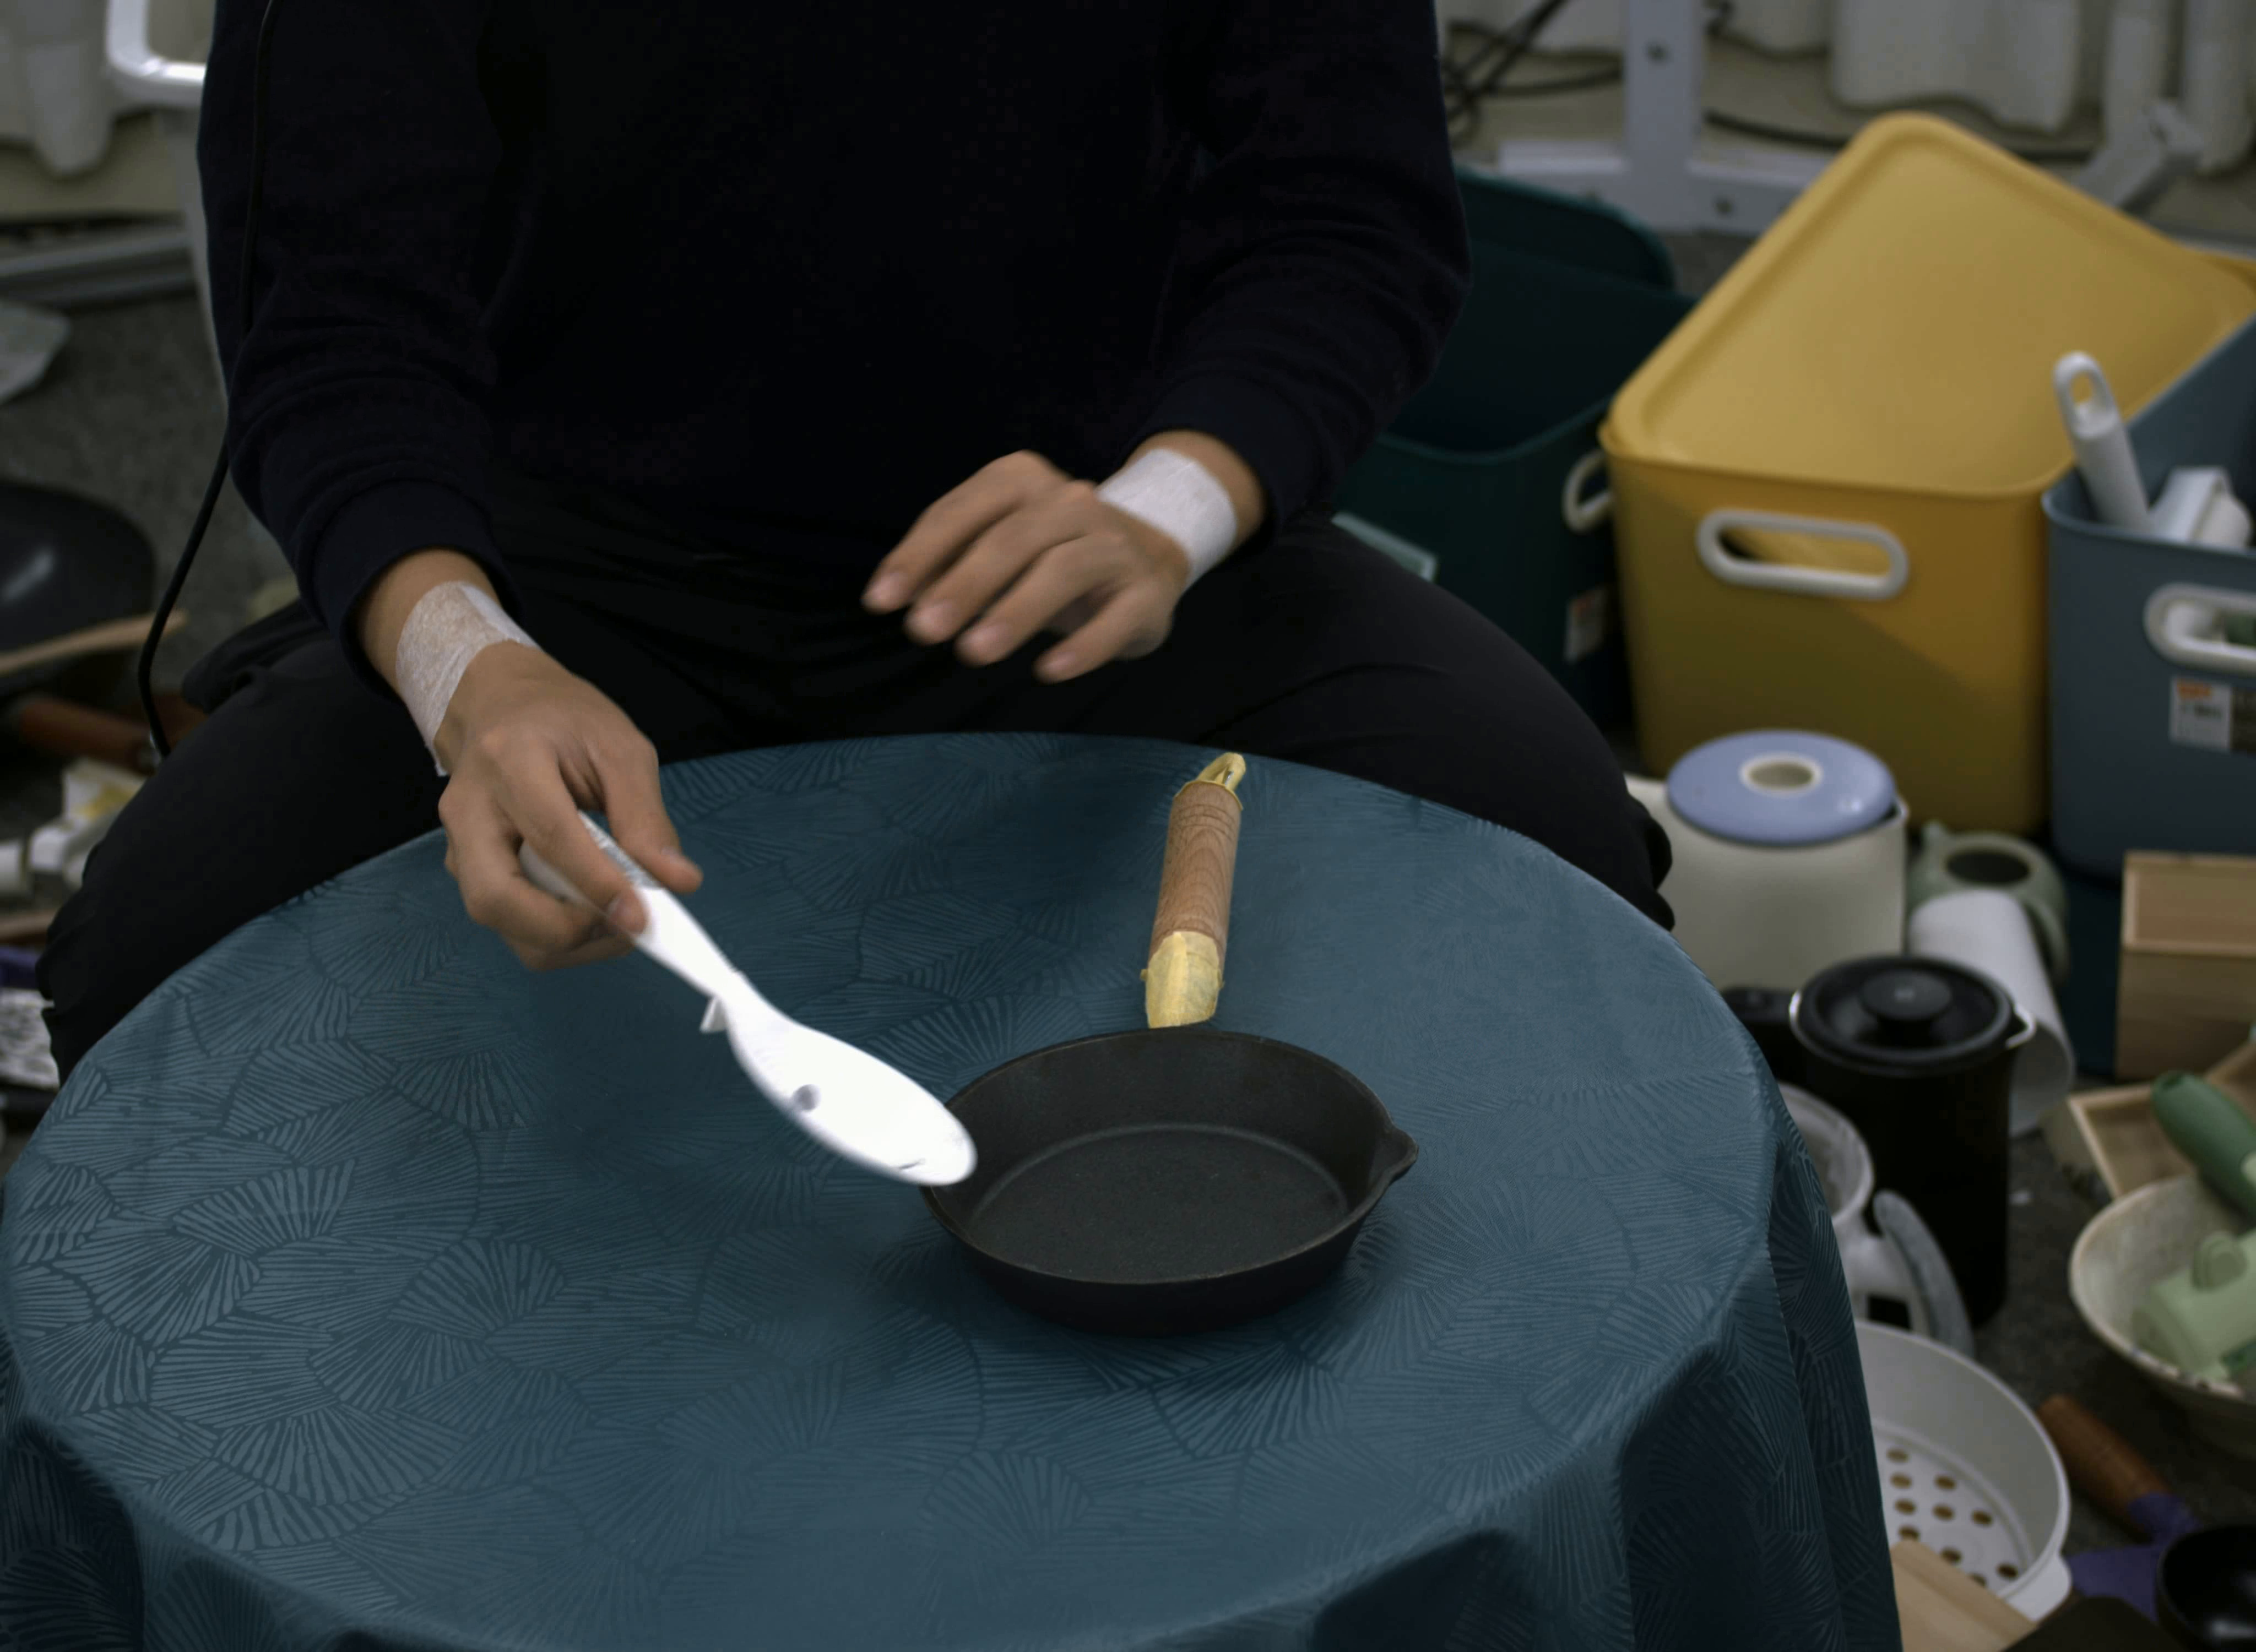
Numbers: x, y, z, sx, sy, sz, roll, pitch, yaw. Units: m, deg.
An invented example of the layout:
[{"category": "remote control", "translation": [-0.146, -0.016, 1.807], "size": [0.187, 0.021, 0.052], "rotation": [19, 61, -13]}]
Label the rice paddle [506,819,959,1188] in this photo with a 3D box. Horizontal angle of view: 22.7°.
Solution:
[{"category": "rice paddle", "translation": [-0.130, 0.061, 1.832], "size": [0.069, 0.029, 0.206], "rotation": [-8, 36, -45]}]

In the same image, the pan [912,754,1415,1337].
[{"category": "pan", "translation": [0.019, 0.071, 1.903], "size": [0.168, 0.049, 0.330], "rotation": [0, 29, 7]}]
